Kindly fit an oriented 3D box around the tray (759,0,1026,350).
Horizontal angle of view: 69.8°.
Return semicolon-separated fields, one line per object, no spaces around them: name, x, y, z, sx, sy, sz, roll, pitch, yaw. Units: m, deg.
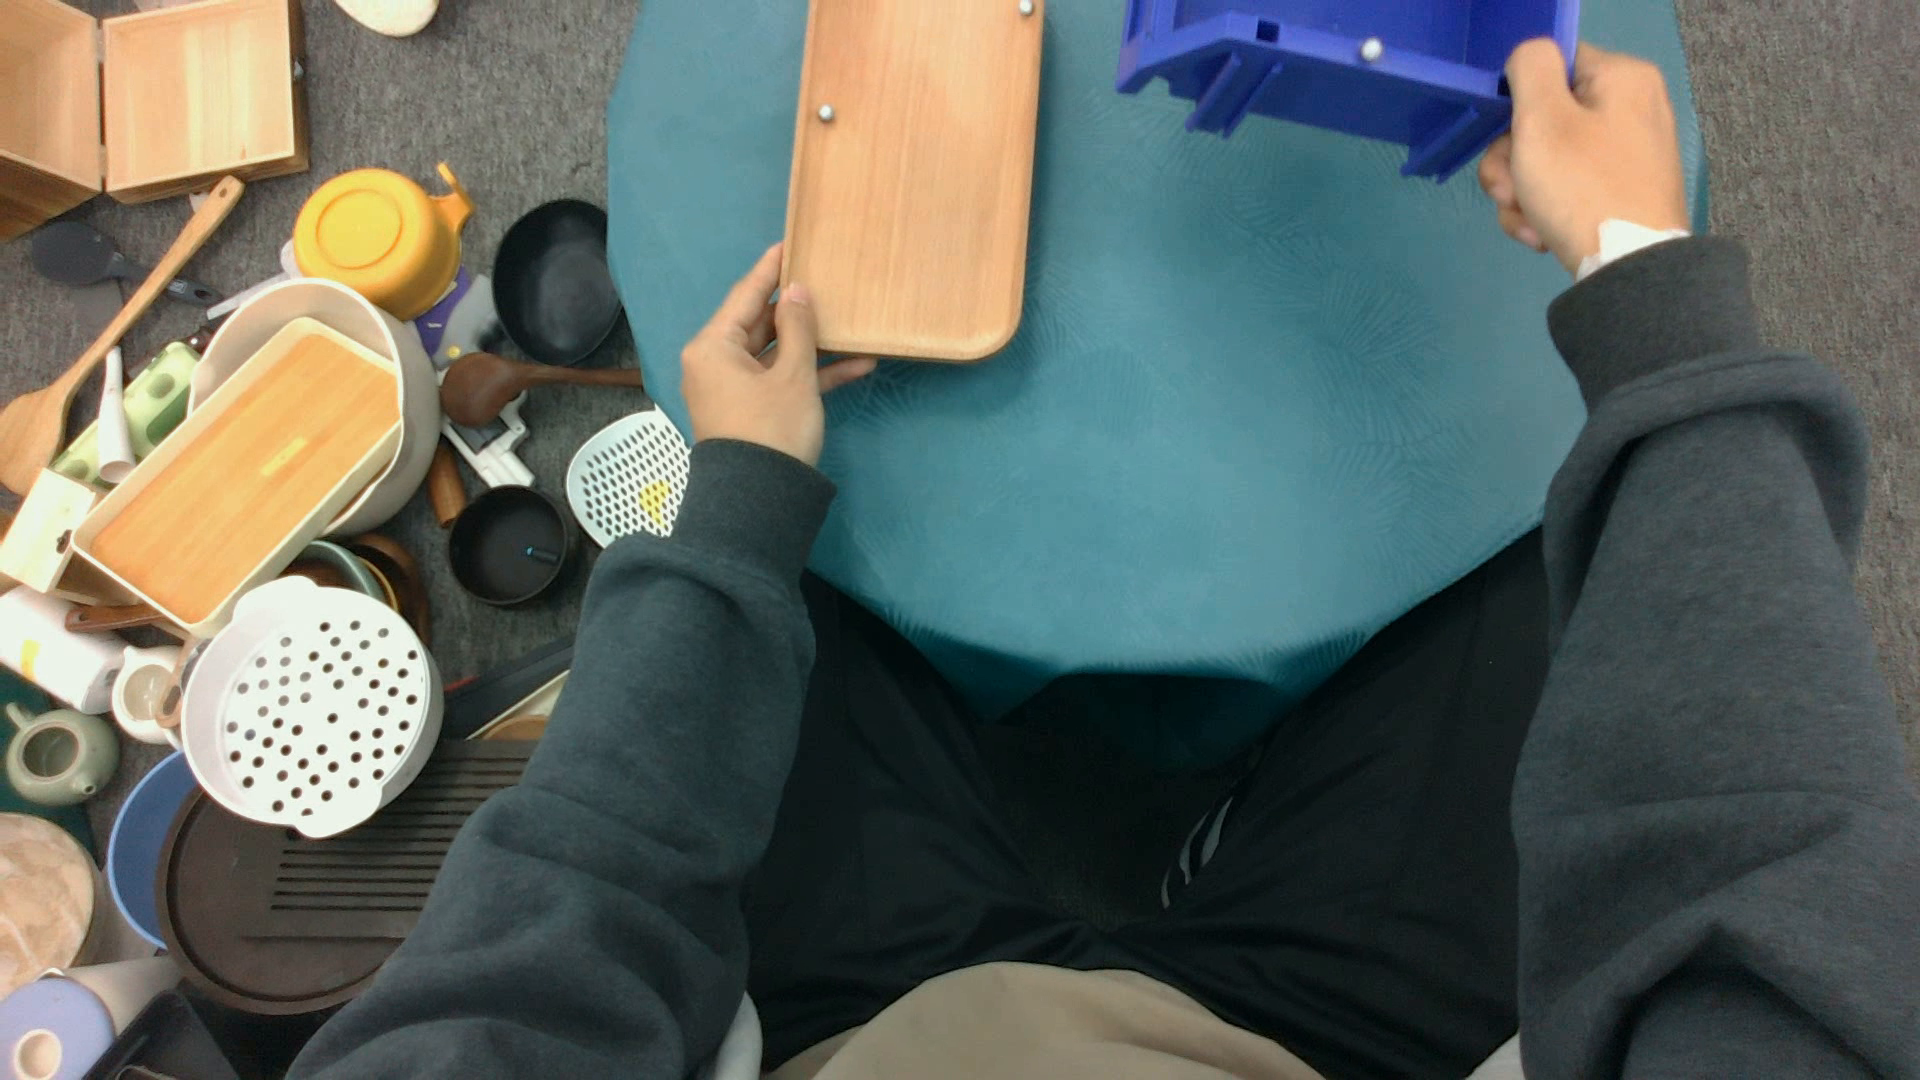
tray;-0.033;-0.220;0.736;0.130;0.023;0.251;4;77;4

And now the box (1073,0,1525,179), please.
box;0.151;-0.249;0.616;0.179;0.081;0.124;12;82;-10
